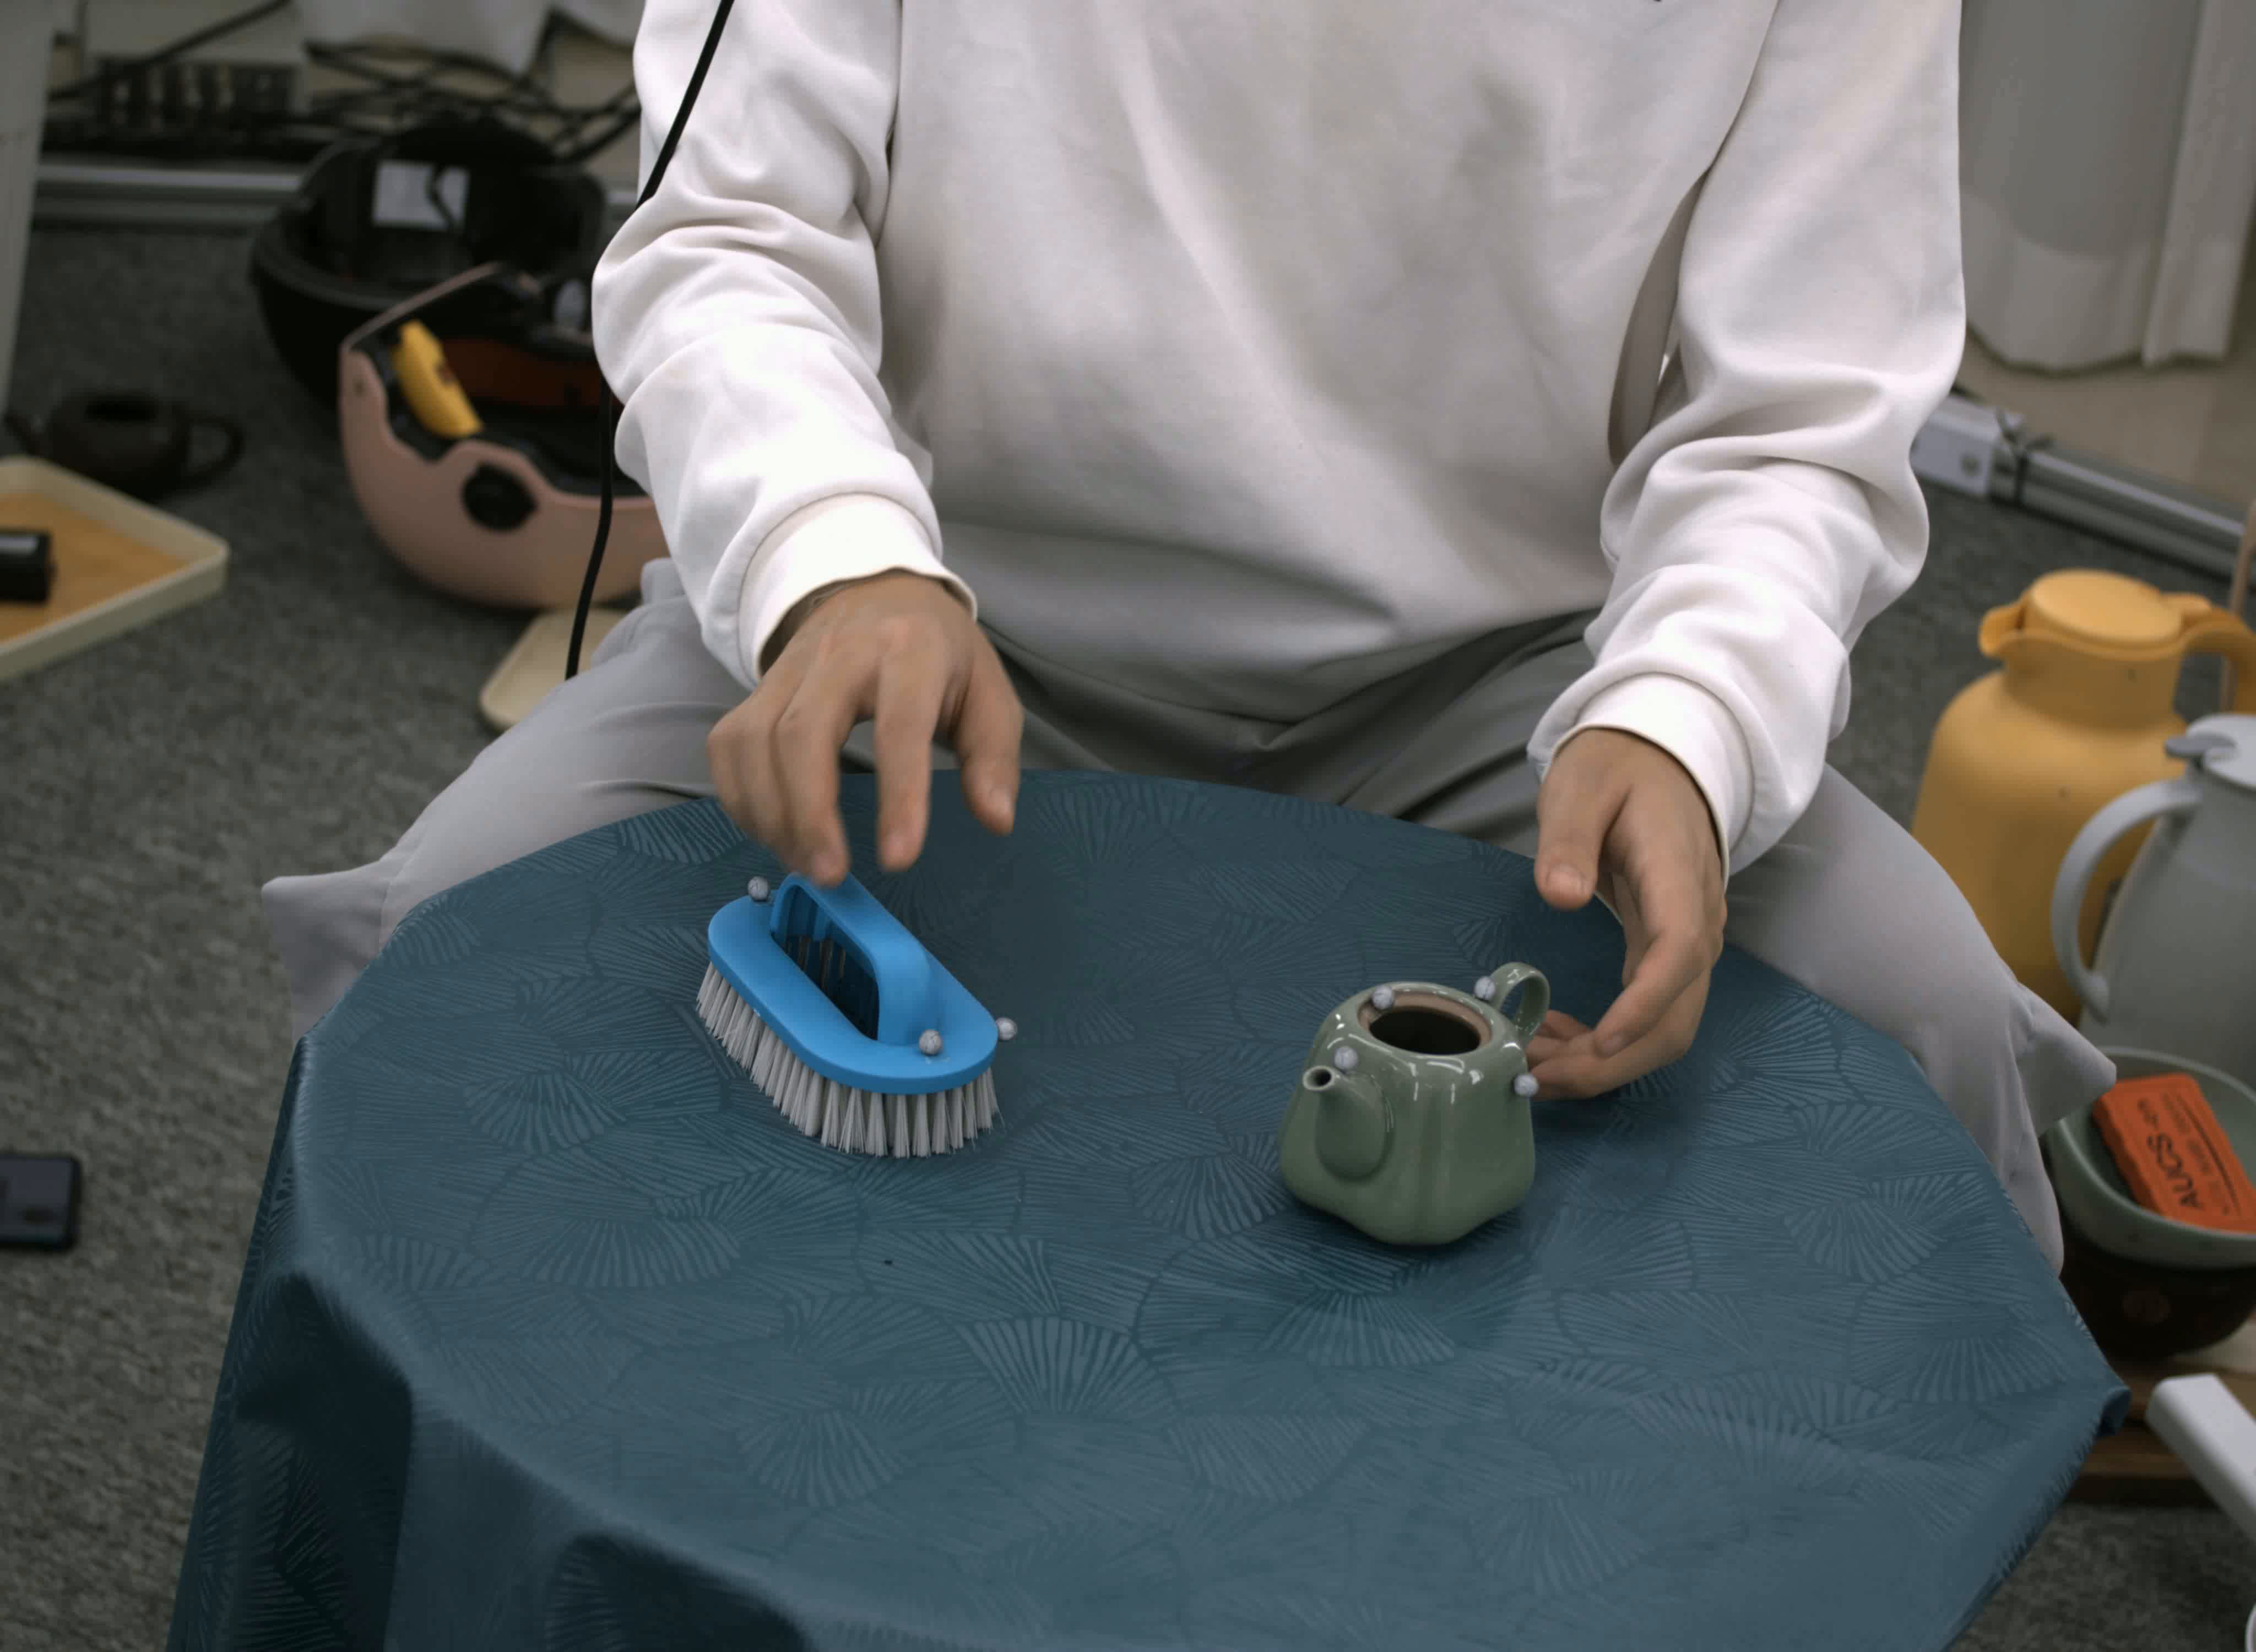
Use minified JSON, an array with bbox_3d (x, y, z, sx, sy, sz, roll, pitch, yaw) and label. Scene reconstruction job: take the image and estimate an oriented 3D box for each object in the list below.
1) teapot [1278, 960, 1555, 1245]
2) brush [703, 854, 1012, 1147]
[{"bbox_3d":[0.098,0.094,1.806,0.080,0.075,0.132,27,32,33],"label":"teapot"},{"bbox_3d":[-0.096,0.052,1.853,0.084,0.063,0.143,-12,31,-24],"label":"brush"}]
